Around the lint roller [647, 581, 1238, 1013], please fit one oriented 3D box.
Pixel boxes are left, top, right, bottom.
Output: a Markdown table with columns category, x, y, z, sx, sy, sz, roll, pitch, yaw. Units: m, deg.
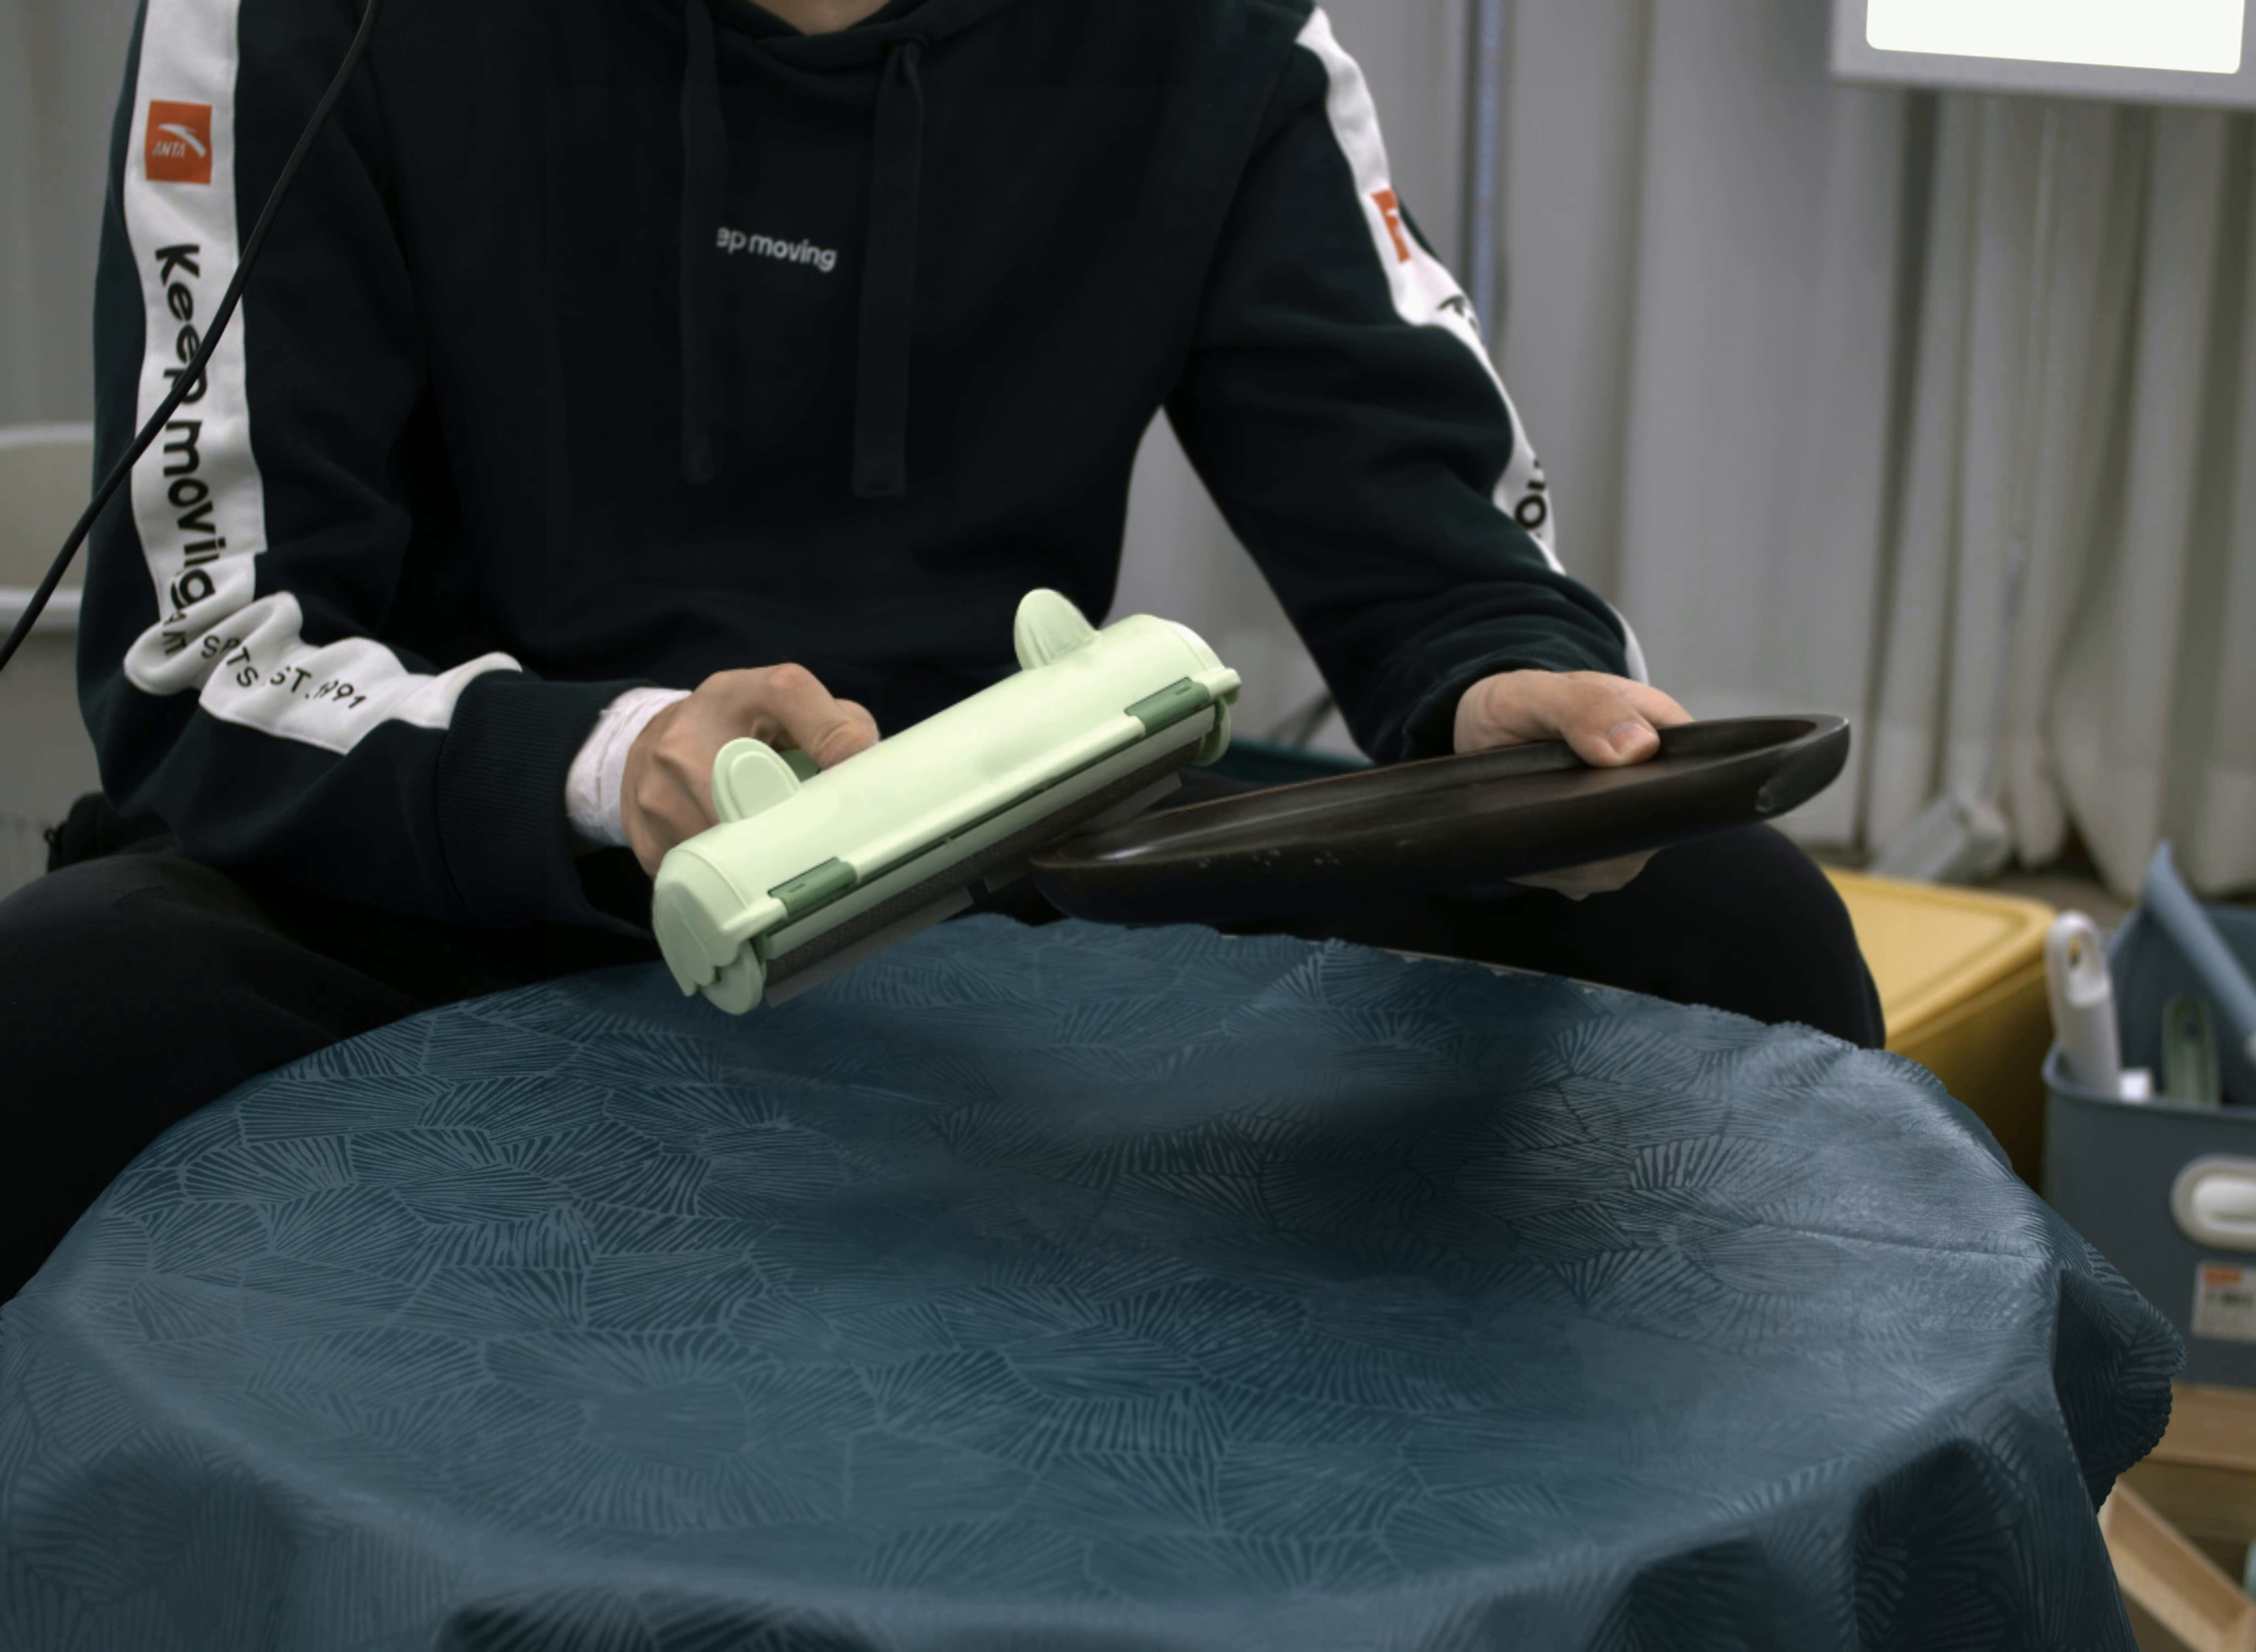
| category | x | y | z | sx | sy | sz | roll | pitch | yaw |
| --- | --- | --- | --- | --- | --- | --- | --- | --- | --- |
| lint roller | -0.089 | -0.022 | 1.658 | 0.199 | 0.083 | 0.181 | -28 | 26 | -28 |

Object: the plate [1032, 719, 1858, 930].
| category | x | y | z | sx | sy | sz | roll | pitch | yaw |
| --- | --- | --- | --- | --- | --- | --- | --- | --- | --- |
| plate | 0.096 | -0.002 | 1.591 | 0.254 | 0.029 | 0.254 | -11 | 5 | 2 |
